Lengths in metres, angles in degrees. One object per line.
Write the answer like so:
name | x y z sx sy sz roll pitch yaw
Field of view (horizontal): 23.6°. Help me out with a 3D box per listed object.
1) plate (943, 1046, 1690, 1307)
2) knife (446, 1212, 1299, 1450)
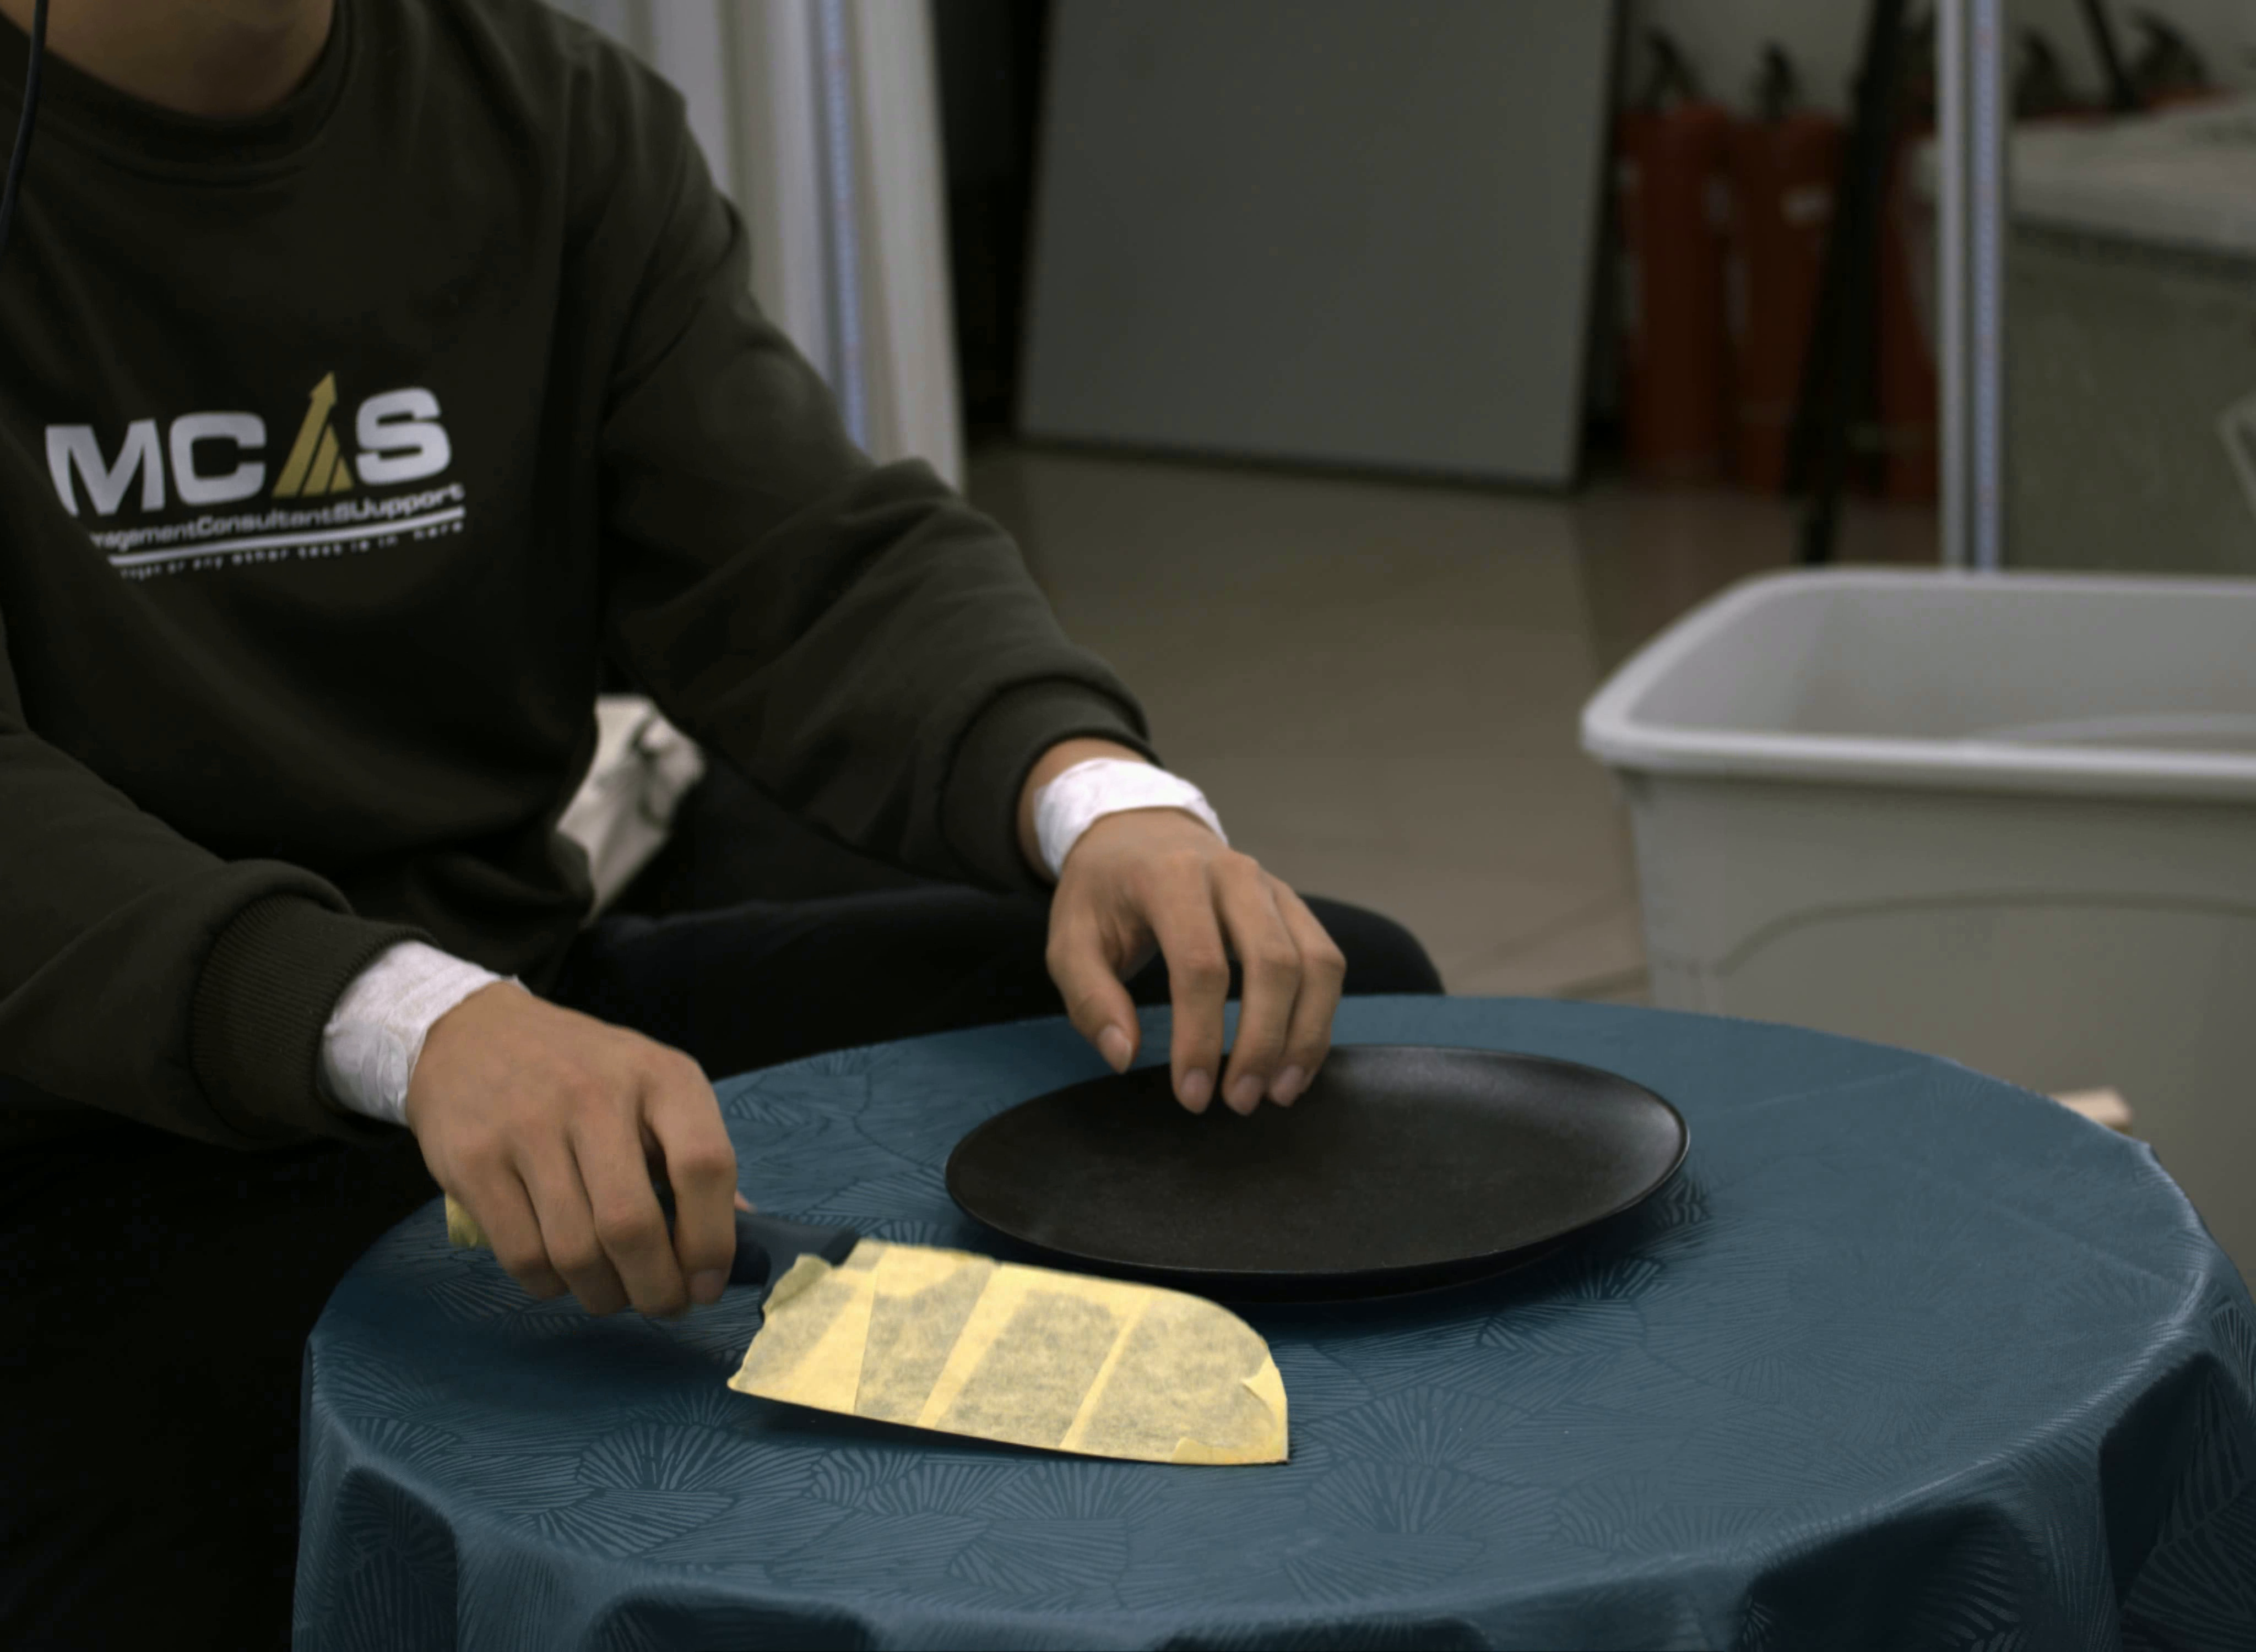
plate | 0.061 0.115 1.734 0.241 0.024 0.245 -4 13 0
knife | -0.082 0.149 1.591 0.290 0.027 0.080 7 34 25
